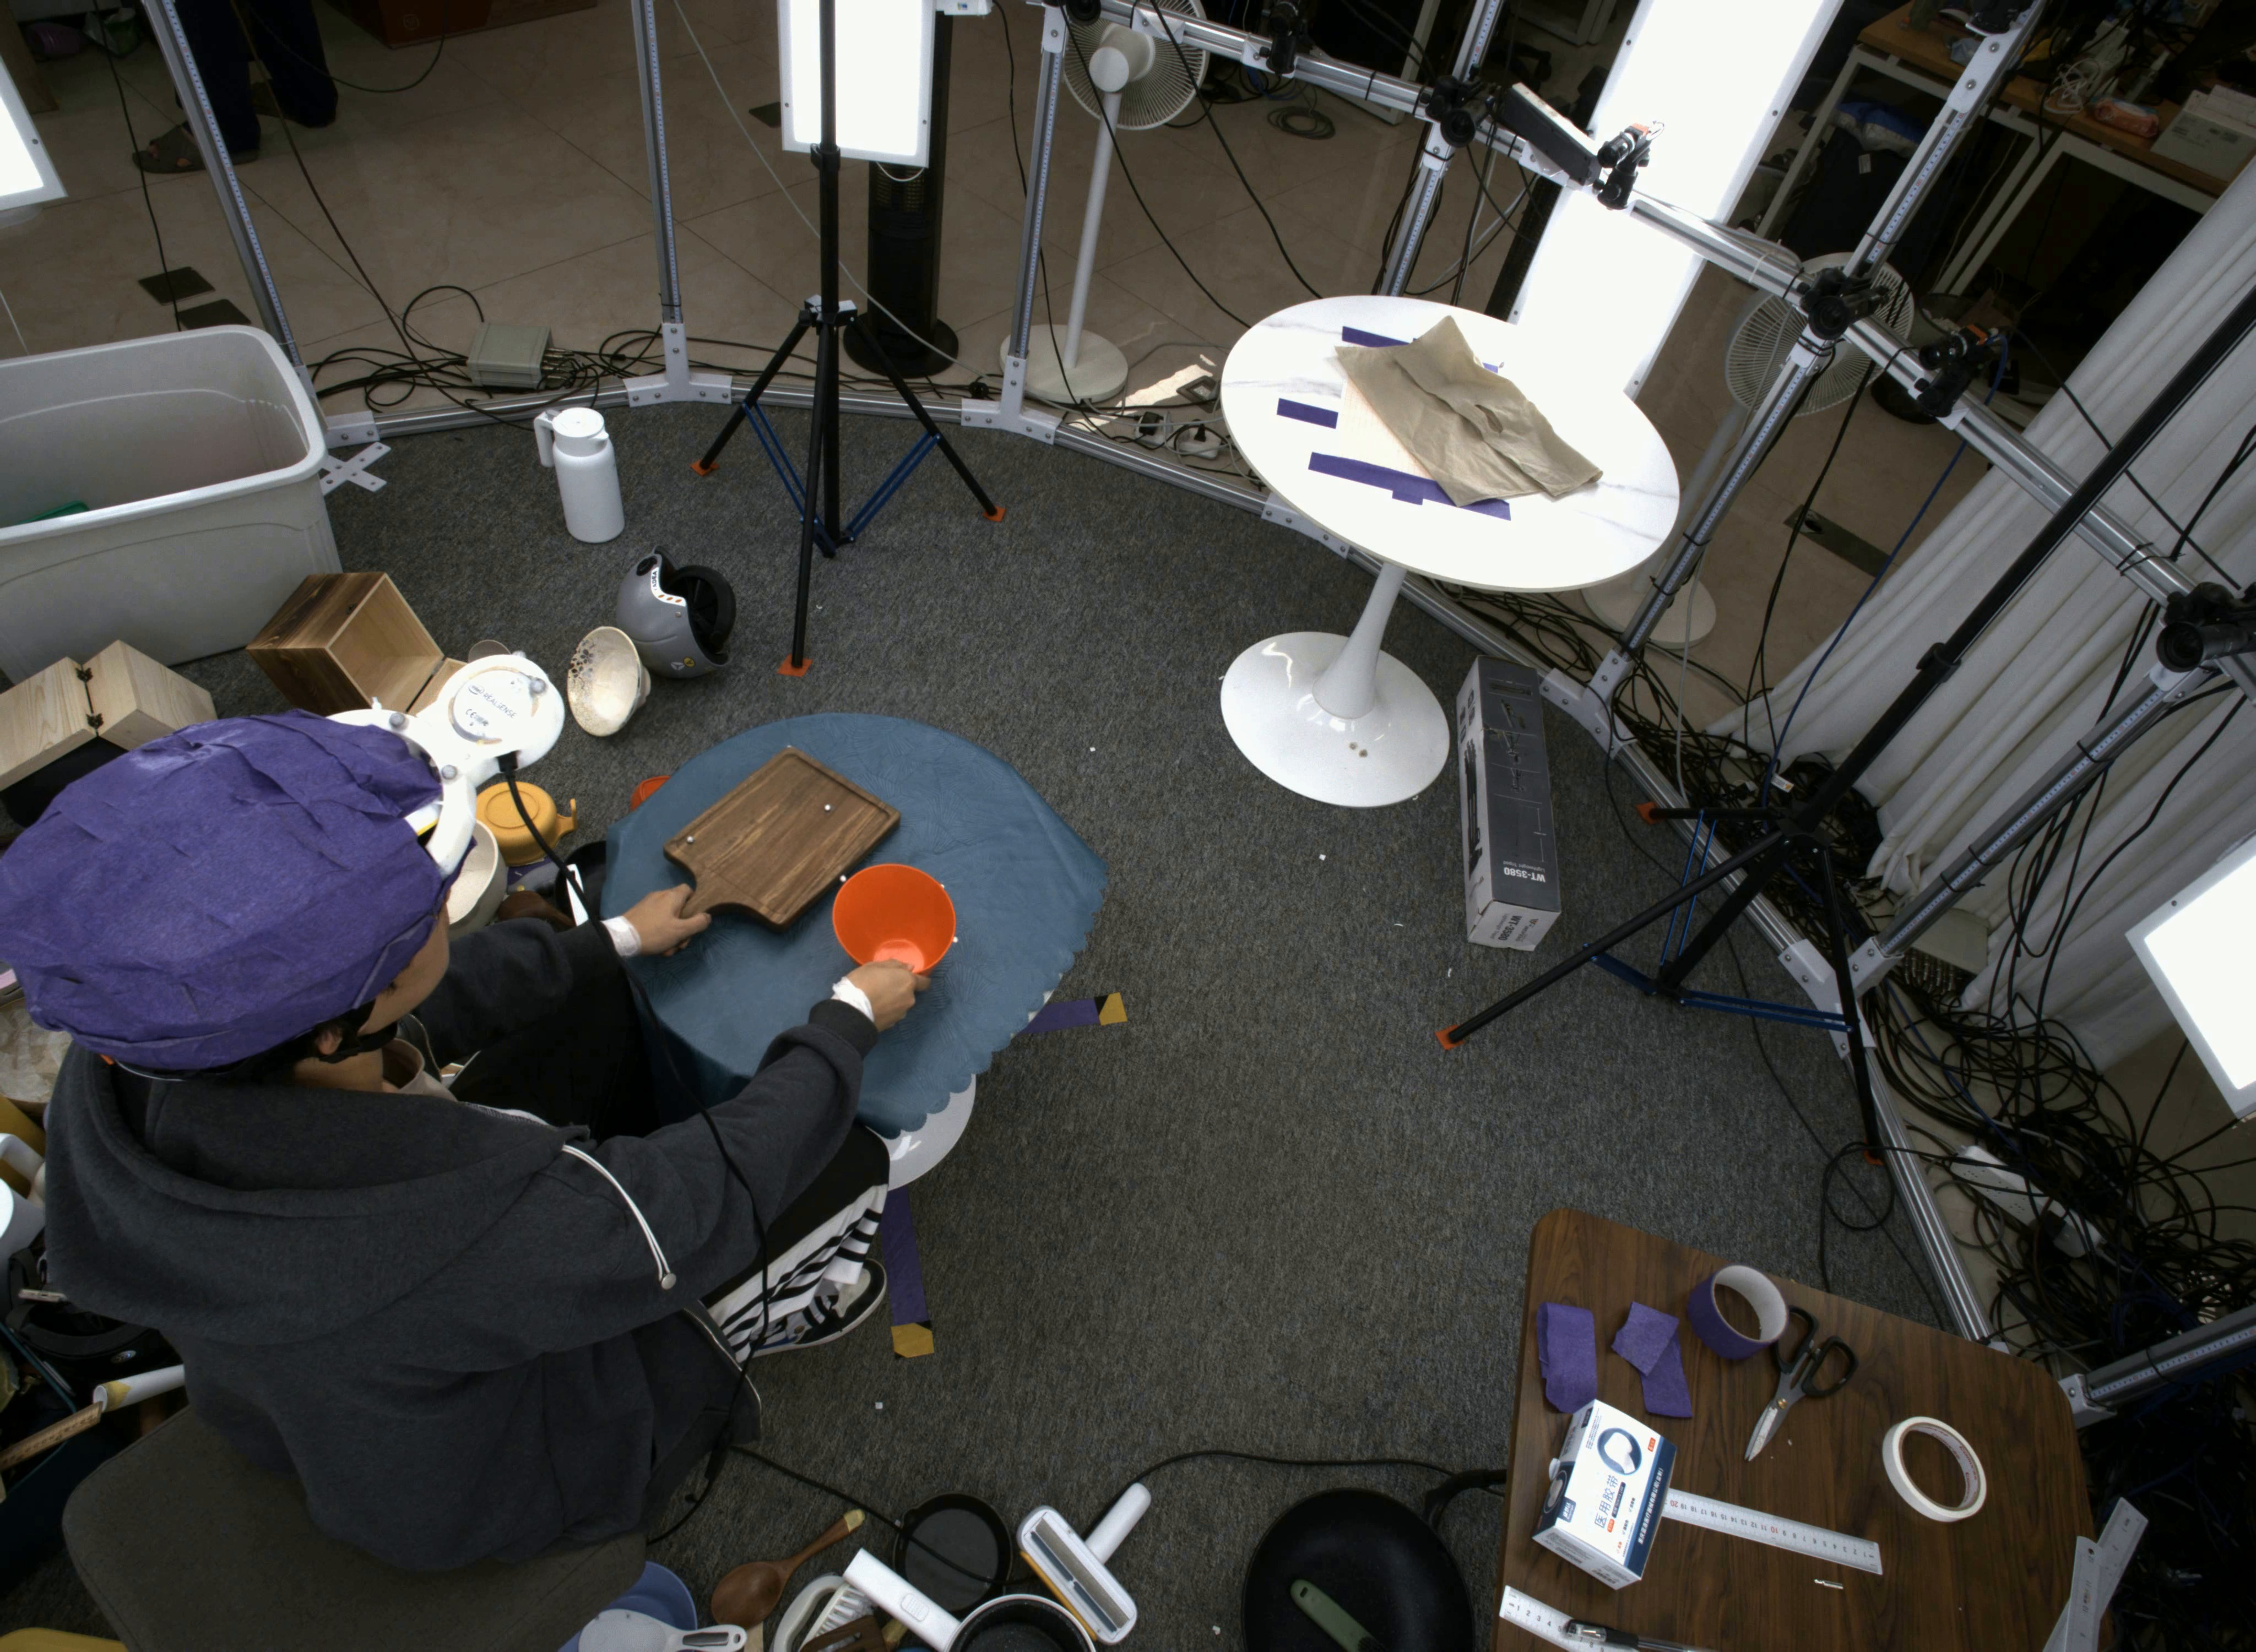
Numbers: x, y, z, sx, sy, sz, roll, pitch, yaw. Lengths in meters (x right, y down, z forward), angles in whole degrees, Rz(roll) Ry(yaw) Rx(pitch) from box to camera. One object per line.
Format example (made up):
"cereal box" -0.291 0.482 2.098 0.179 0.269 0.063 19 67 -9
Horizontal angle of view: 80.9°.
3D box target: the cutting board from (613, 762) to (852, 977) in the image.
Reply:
"cutting board" -0.526 0.061 1.624 0.198 0.023 0.350 29 47 8

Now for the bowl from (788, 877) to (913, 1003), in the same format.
"bowl" -0.335 0.149 1.575 0.147 0.107 0.145 7 52 -8
